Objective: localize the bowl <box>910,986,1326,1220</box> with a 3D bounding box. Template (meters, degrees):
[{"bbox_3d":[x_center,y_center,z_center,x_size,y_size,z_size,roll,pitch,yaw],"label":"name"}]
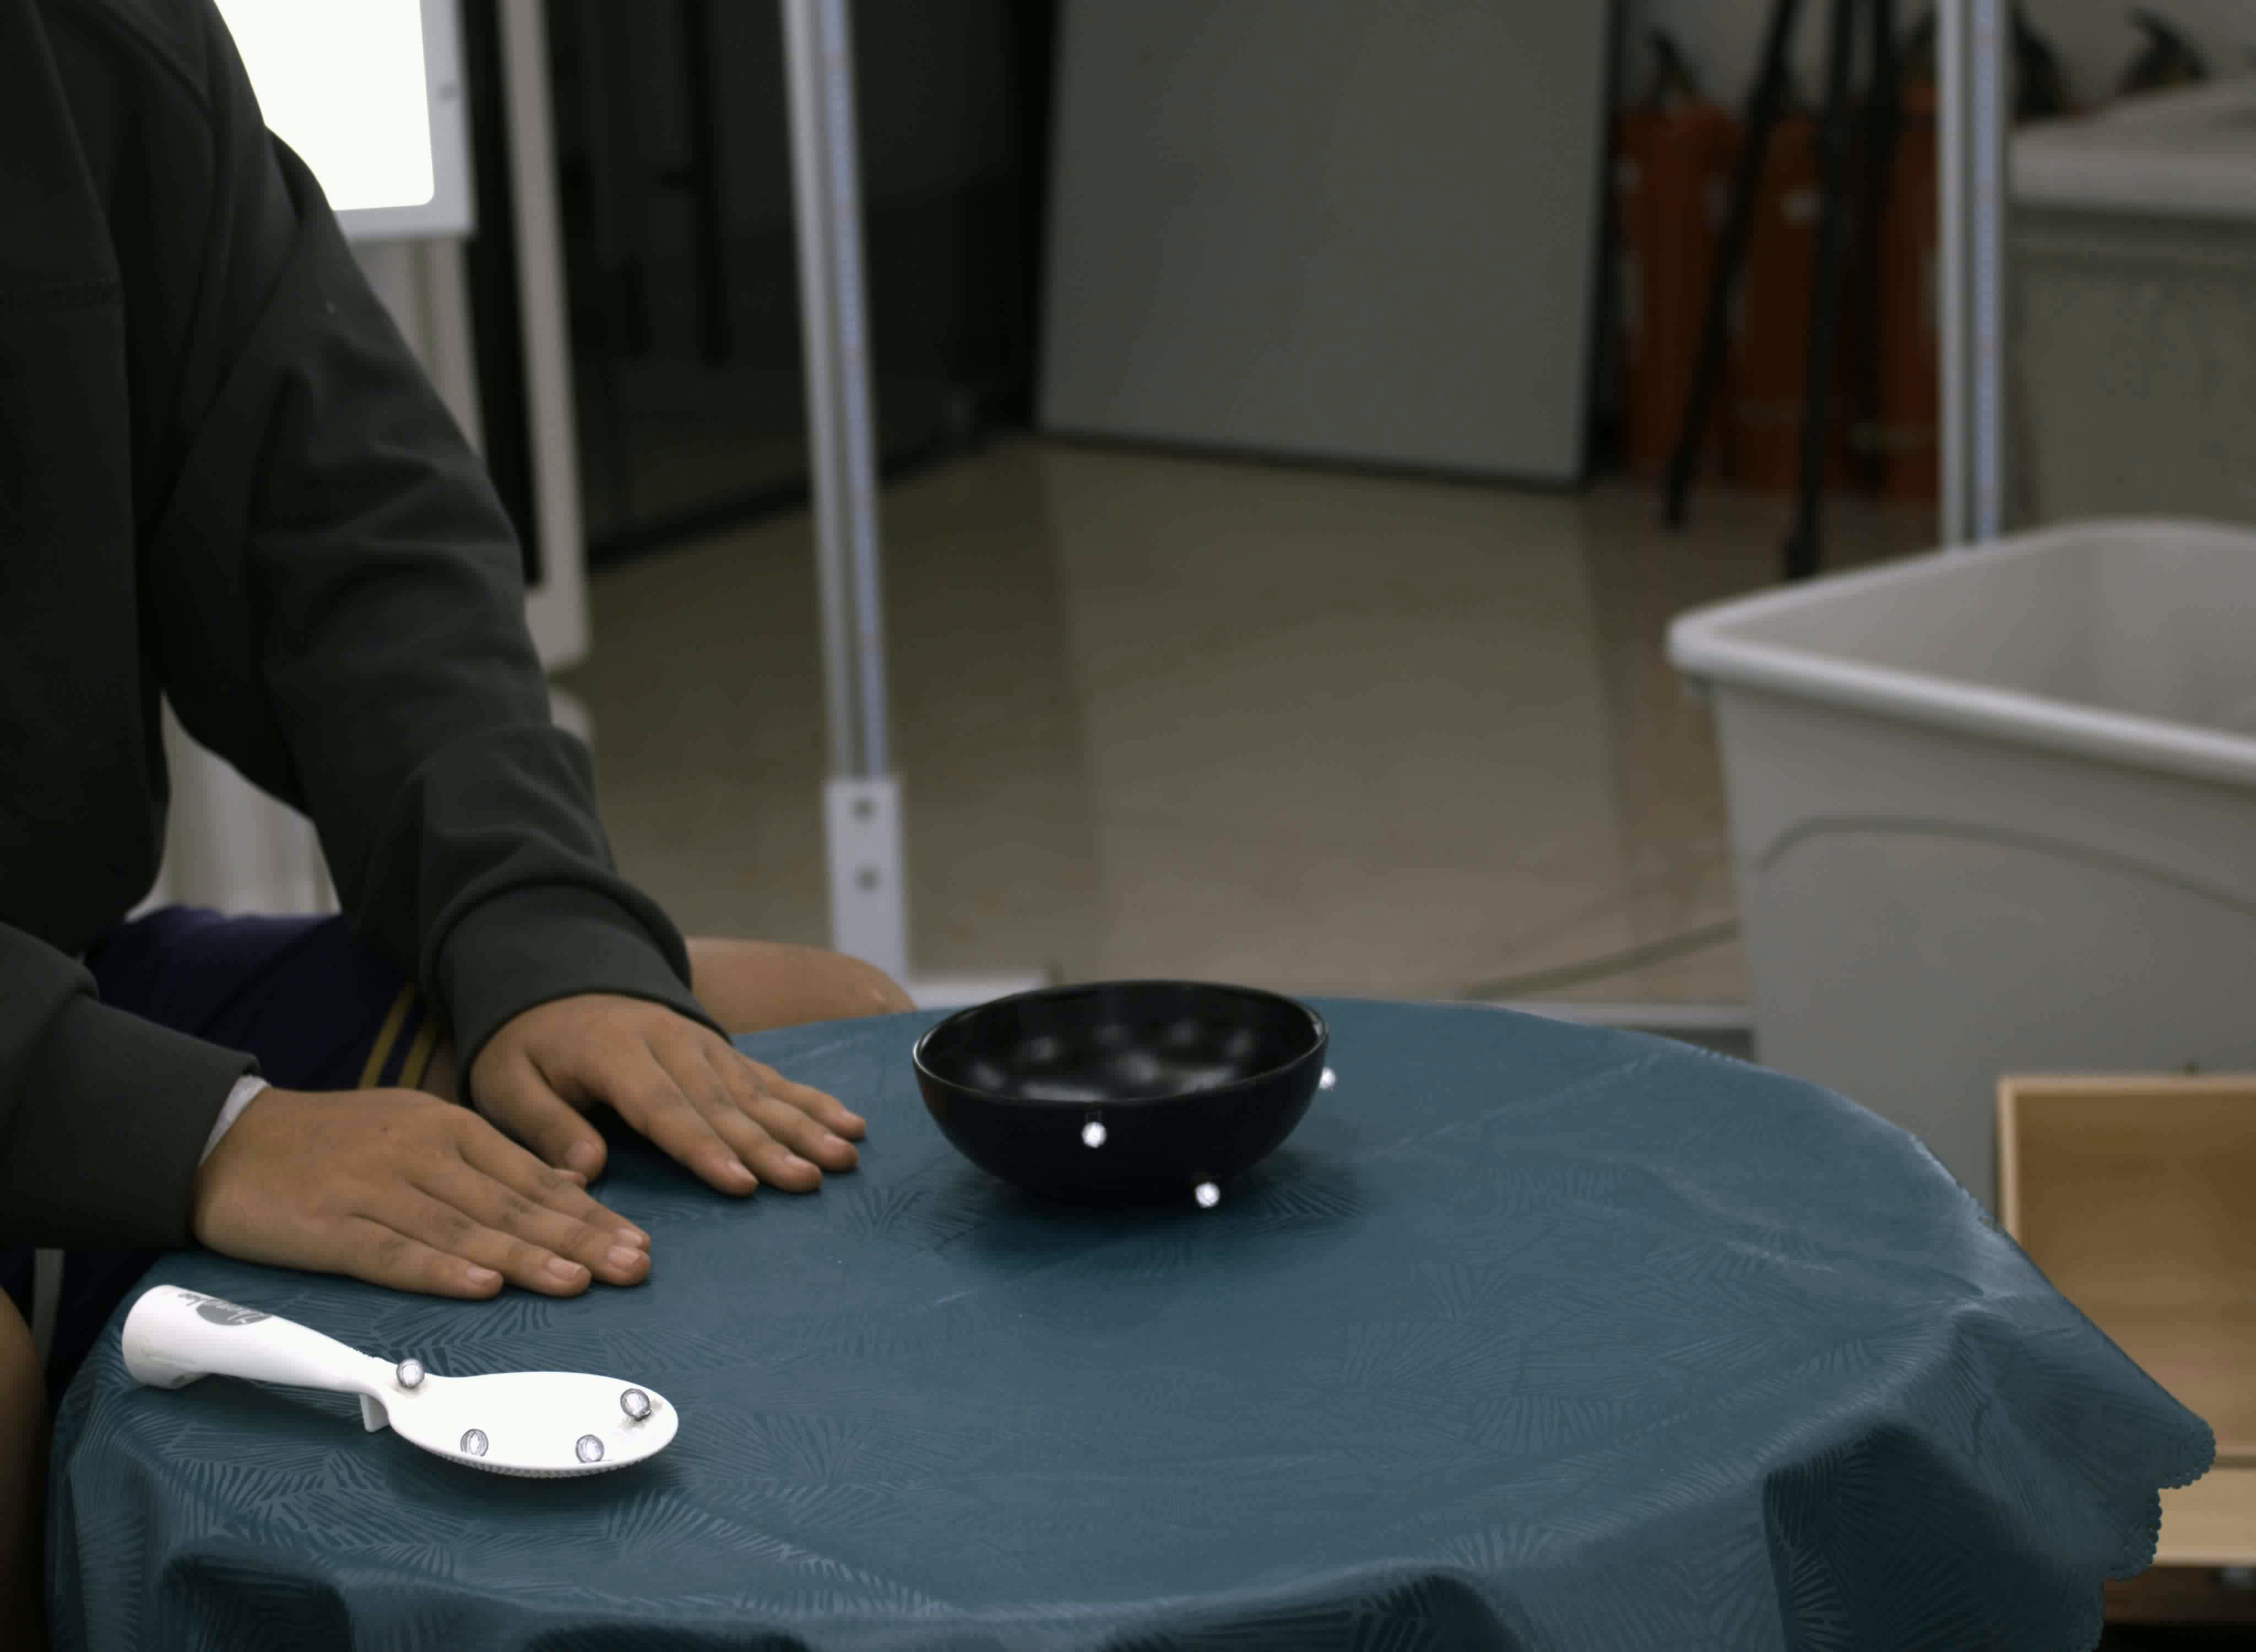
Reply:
[{"bbox_3d":[-0.001,0.095,1.778,0.138,0.050,0.140,-6,13,0],"label":"bowl"}]

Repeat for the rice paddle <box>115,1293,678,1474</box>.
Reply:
[{"bbox_3d":[-0.215,0.165,1.591,0.206,0.030,0.067,5,18,37],"label":"rice paddle"}]
